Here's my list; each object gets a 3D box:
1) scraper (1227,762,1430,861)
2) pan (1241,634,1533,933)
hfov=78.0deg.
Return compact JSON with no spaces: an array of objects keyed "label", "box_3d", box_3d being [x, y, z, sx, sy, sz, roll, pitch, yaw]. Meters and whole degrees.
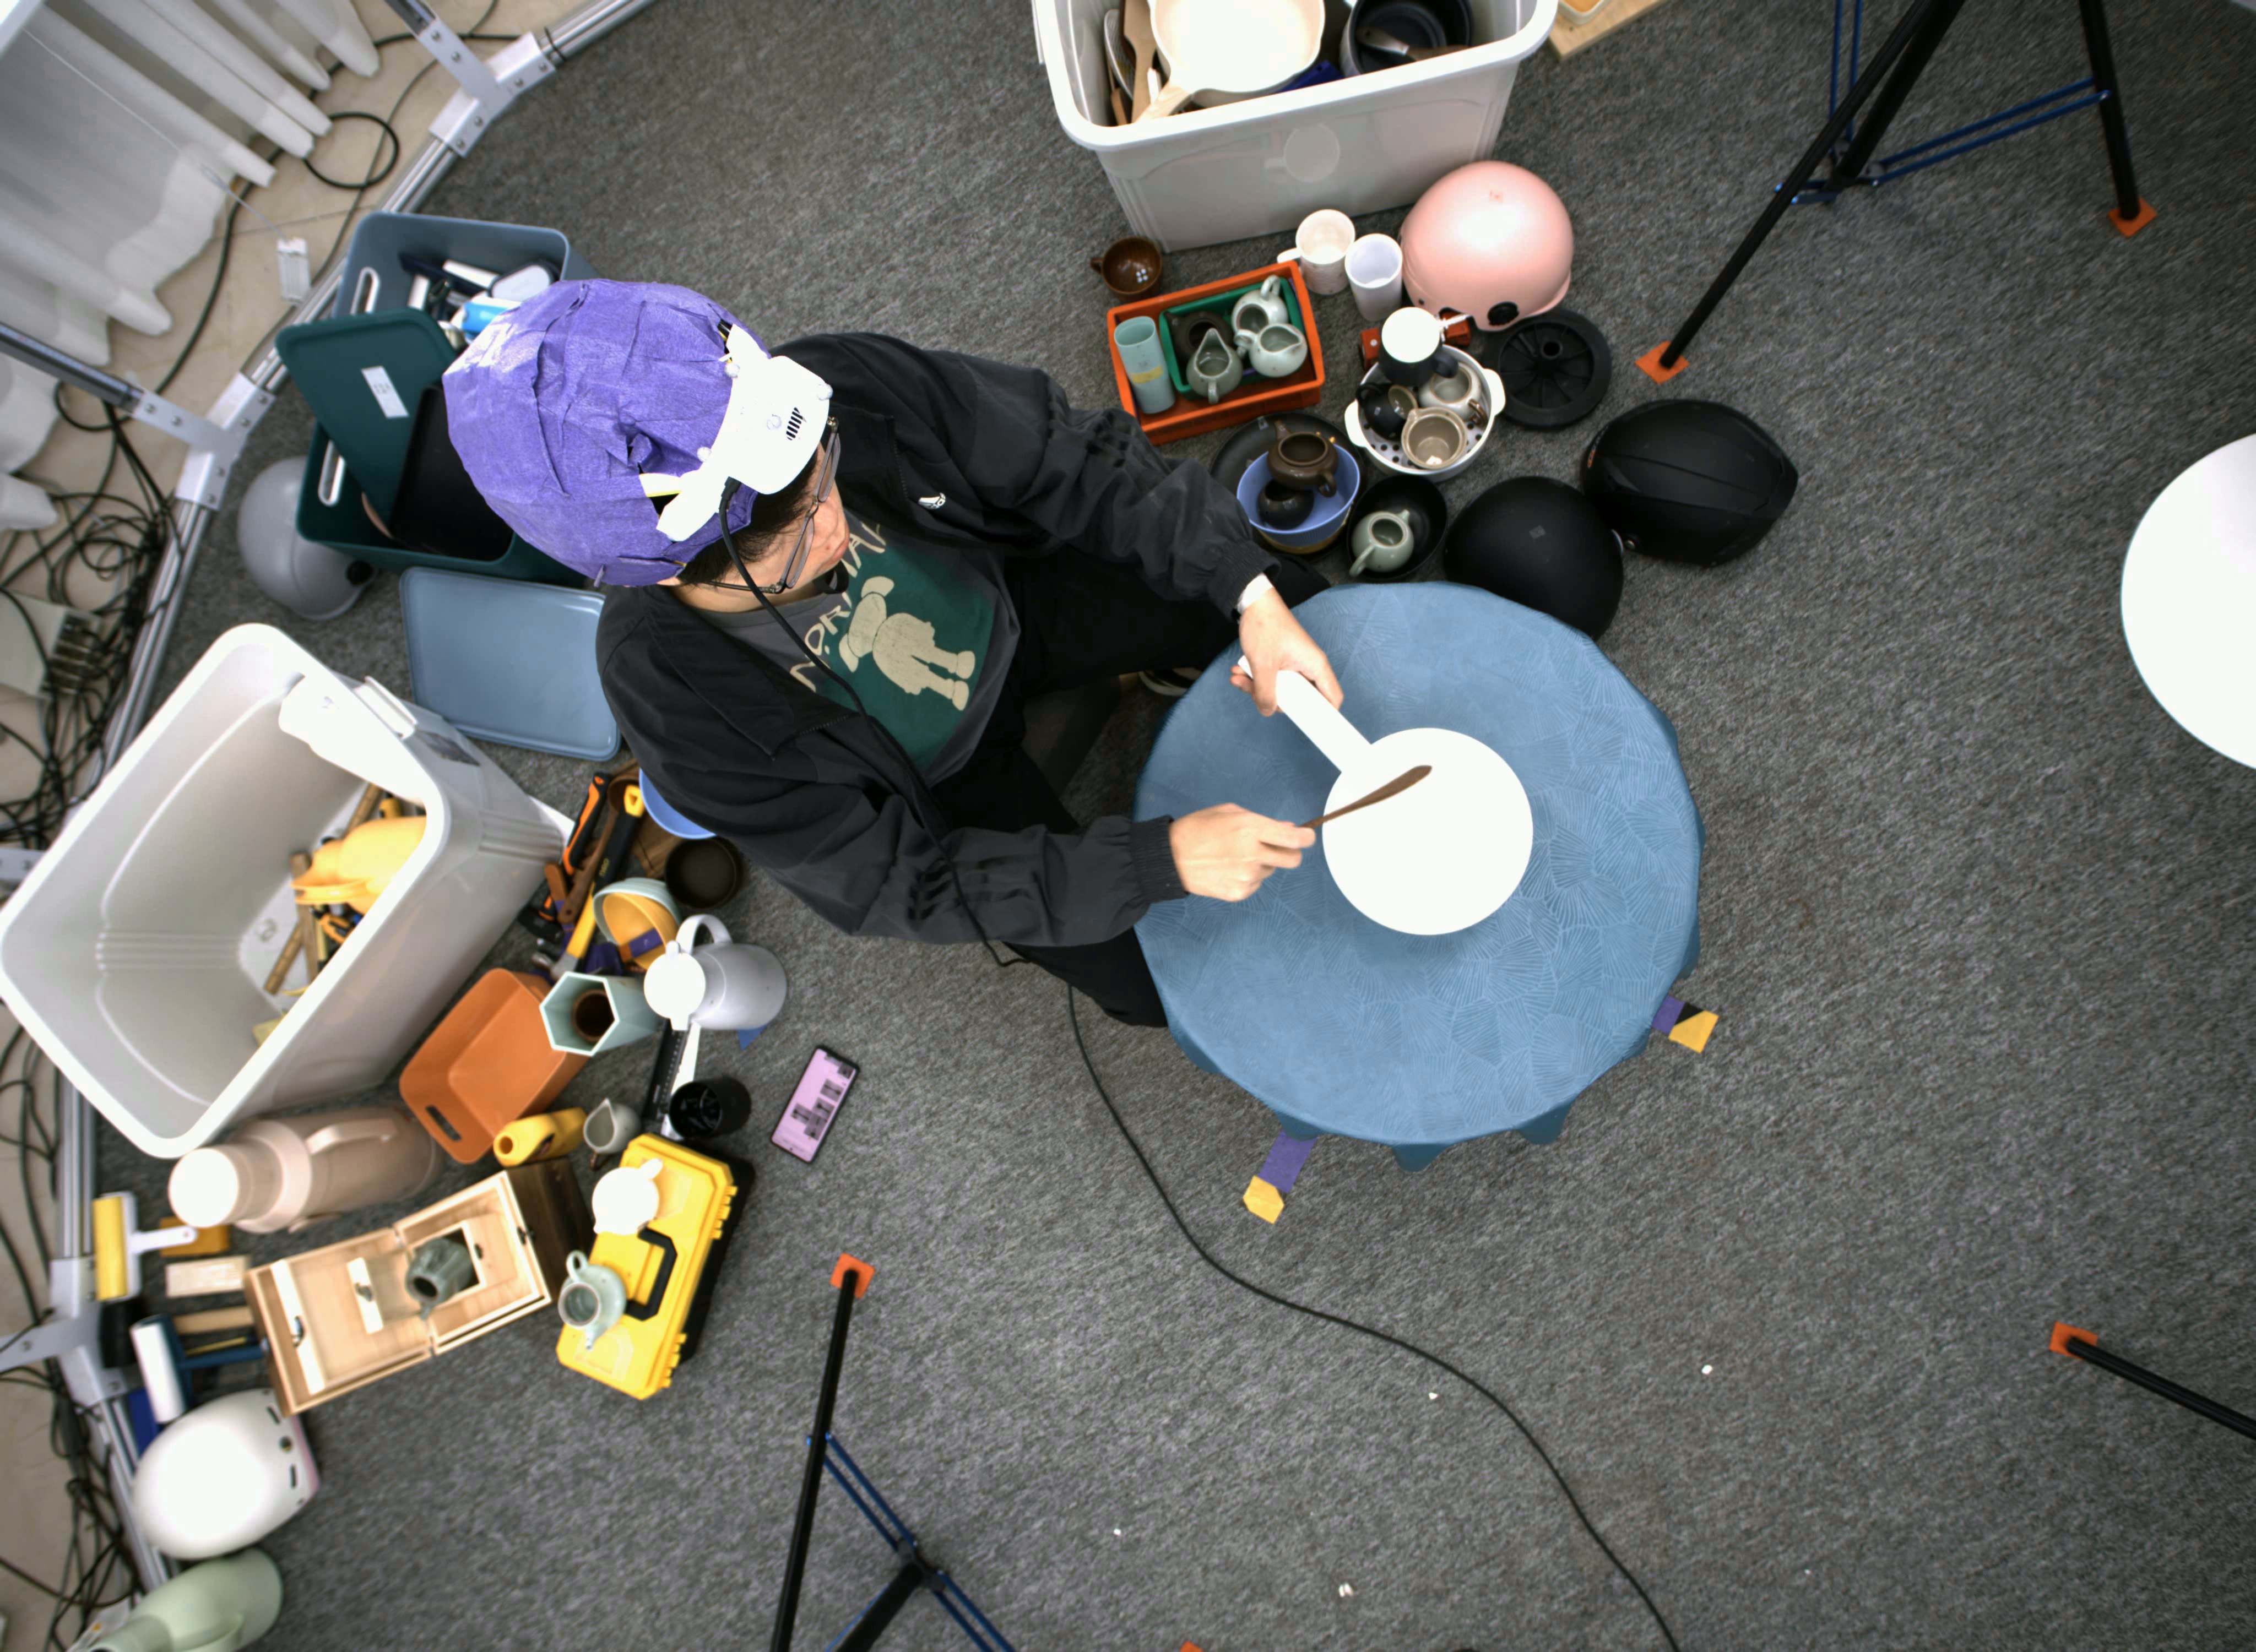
[{"label":"scraper","box_3d":[0.191,-0.013,1.324,0.212,0.075,0.011,-25,97,5]},{"label":"pan","box_3d":[0.253,-0.052,1.402,0.203,0.101,0.353,-45,80,13]}]
